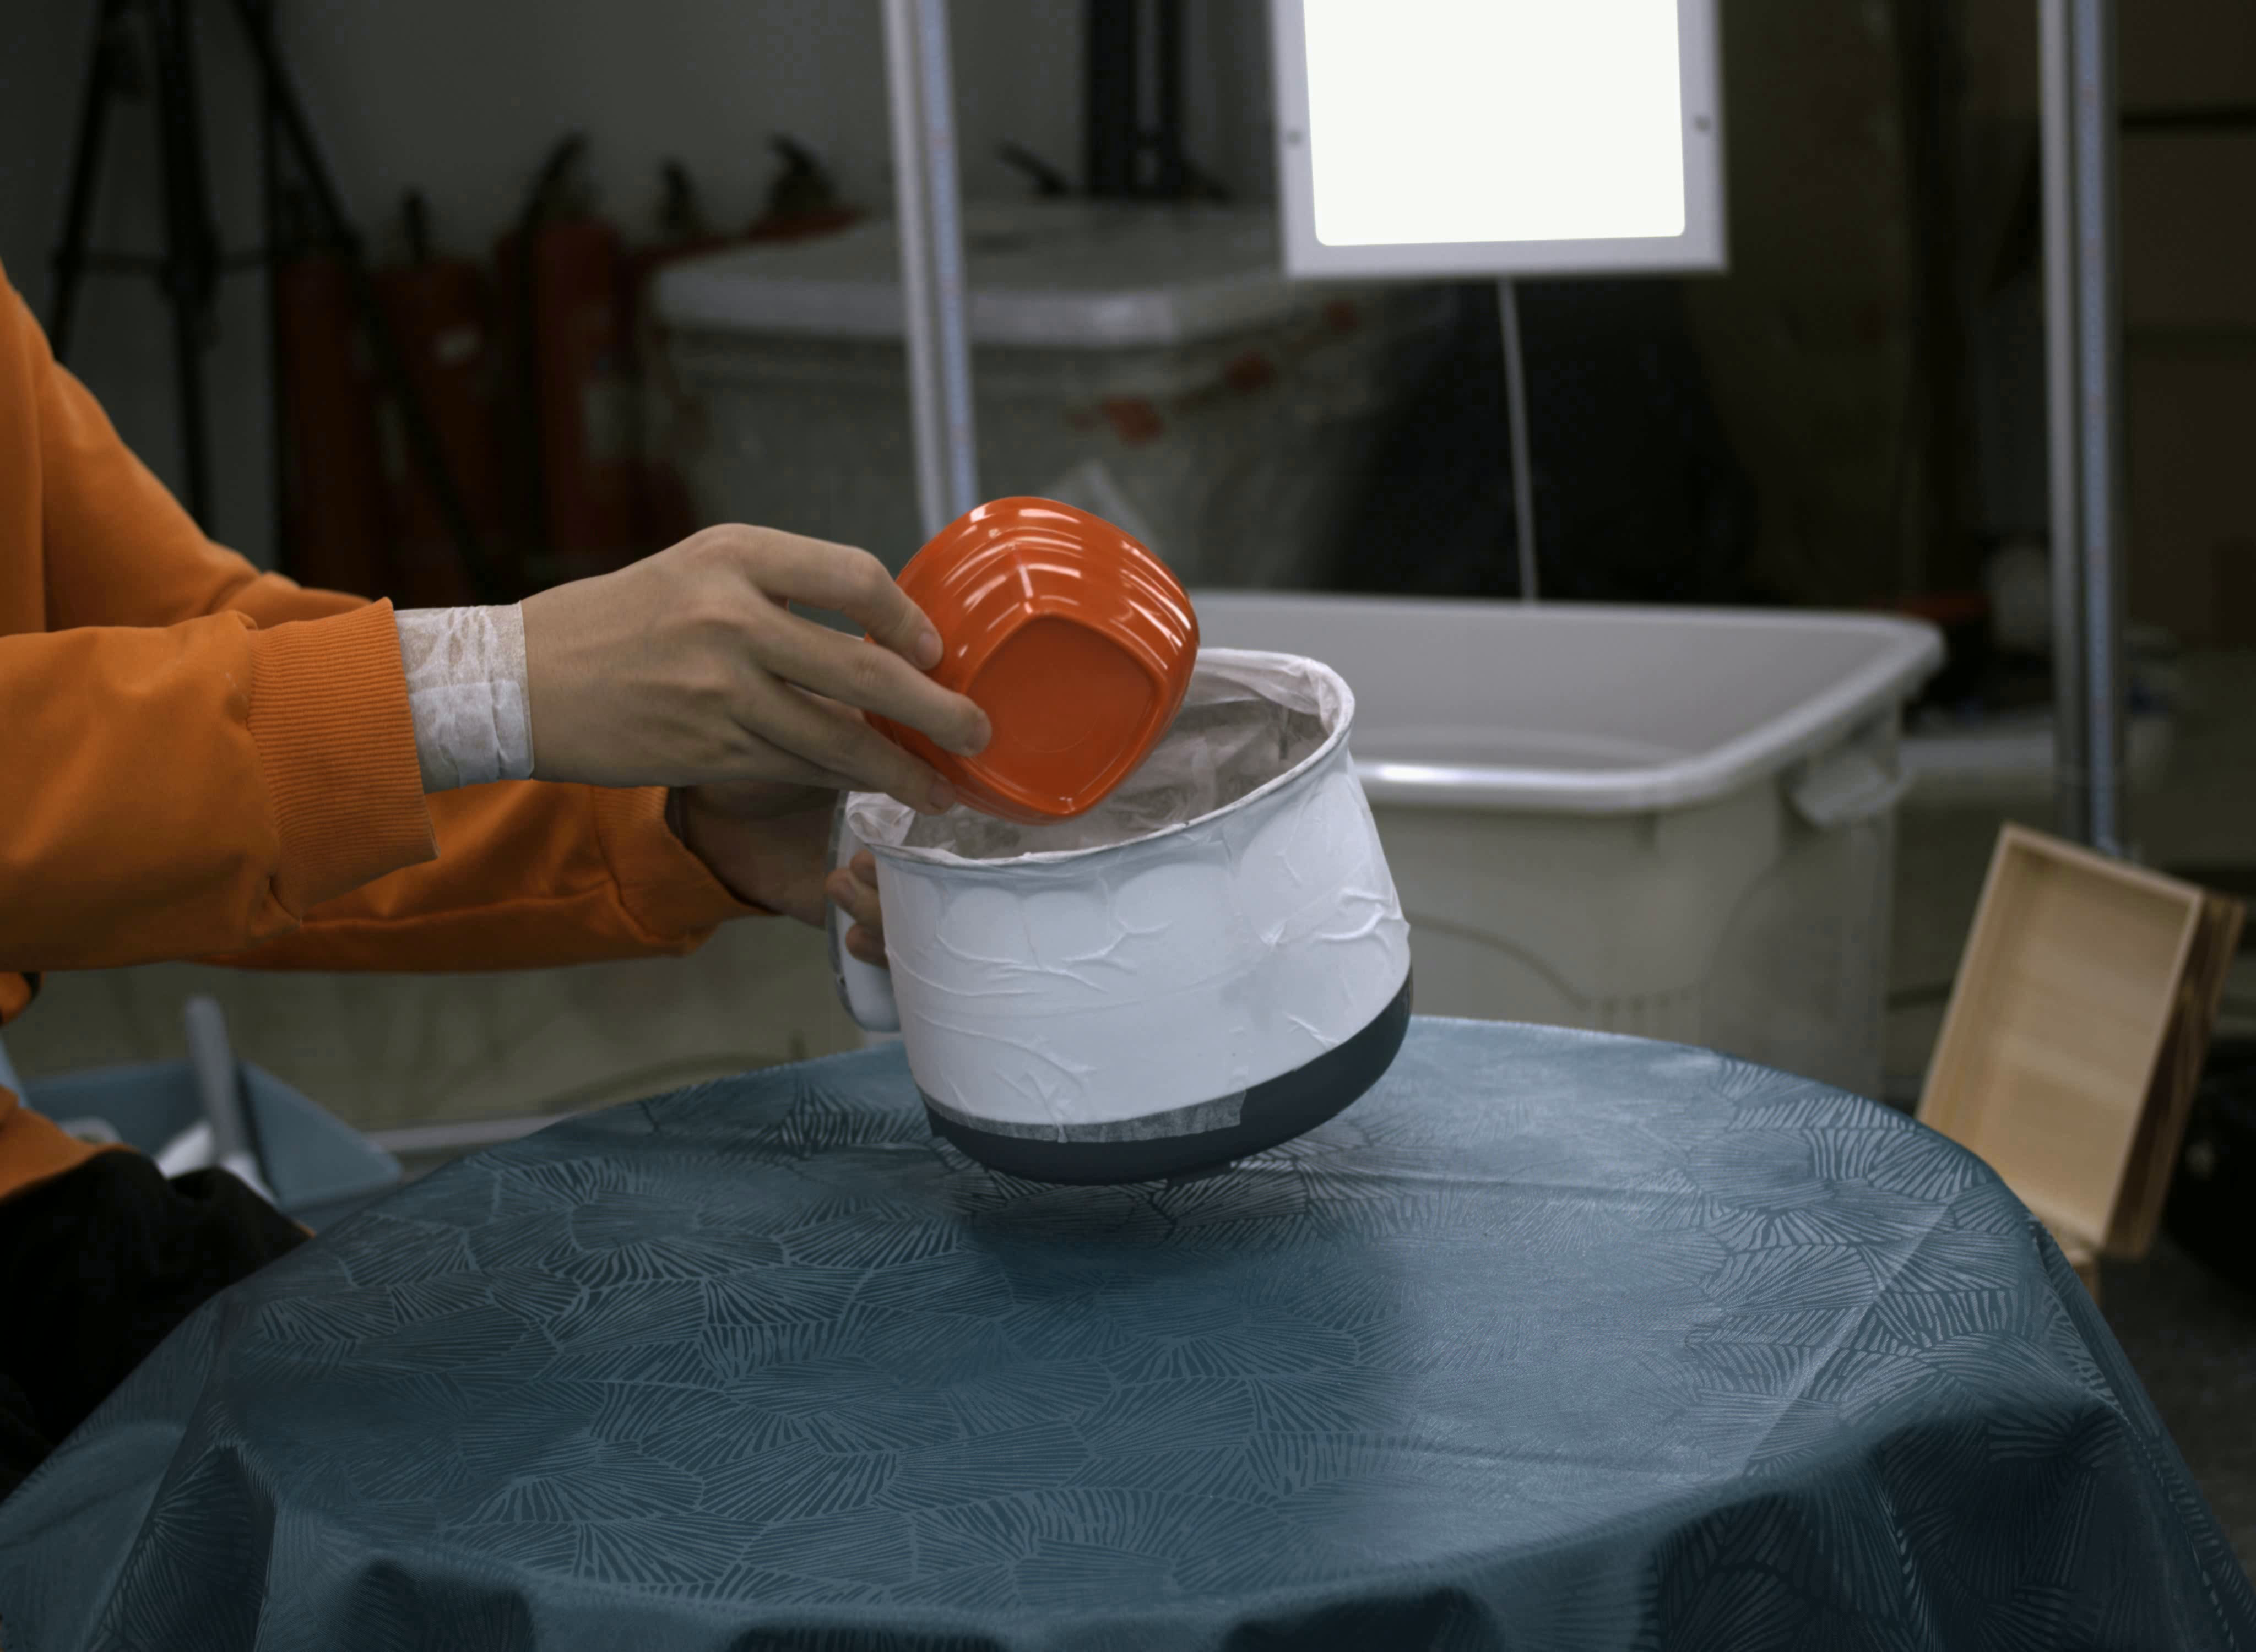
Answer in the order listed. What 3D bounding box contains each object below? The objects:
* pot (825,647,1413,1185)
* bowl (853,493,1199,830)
[{"bbox_3d":[-0.018,0.030,1.894,0.239,0.137,0.174,5,28,41],"label":"pot"},{"bbox_3d":[-0.029,-0.047,1.825,0.117,0.119,0.051,-7,25,-9],"label":"bowl"}]
